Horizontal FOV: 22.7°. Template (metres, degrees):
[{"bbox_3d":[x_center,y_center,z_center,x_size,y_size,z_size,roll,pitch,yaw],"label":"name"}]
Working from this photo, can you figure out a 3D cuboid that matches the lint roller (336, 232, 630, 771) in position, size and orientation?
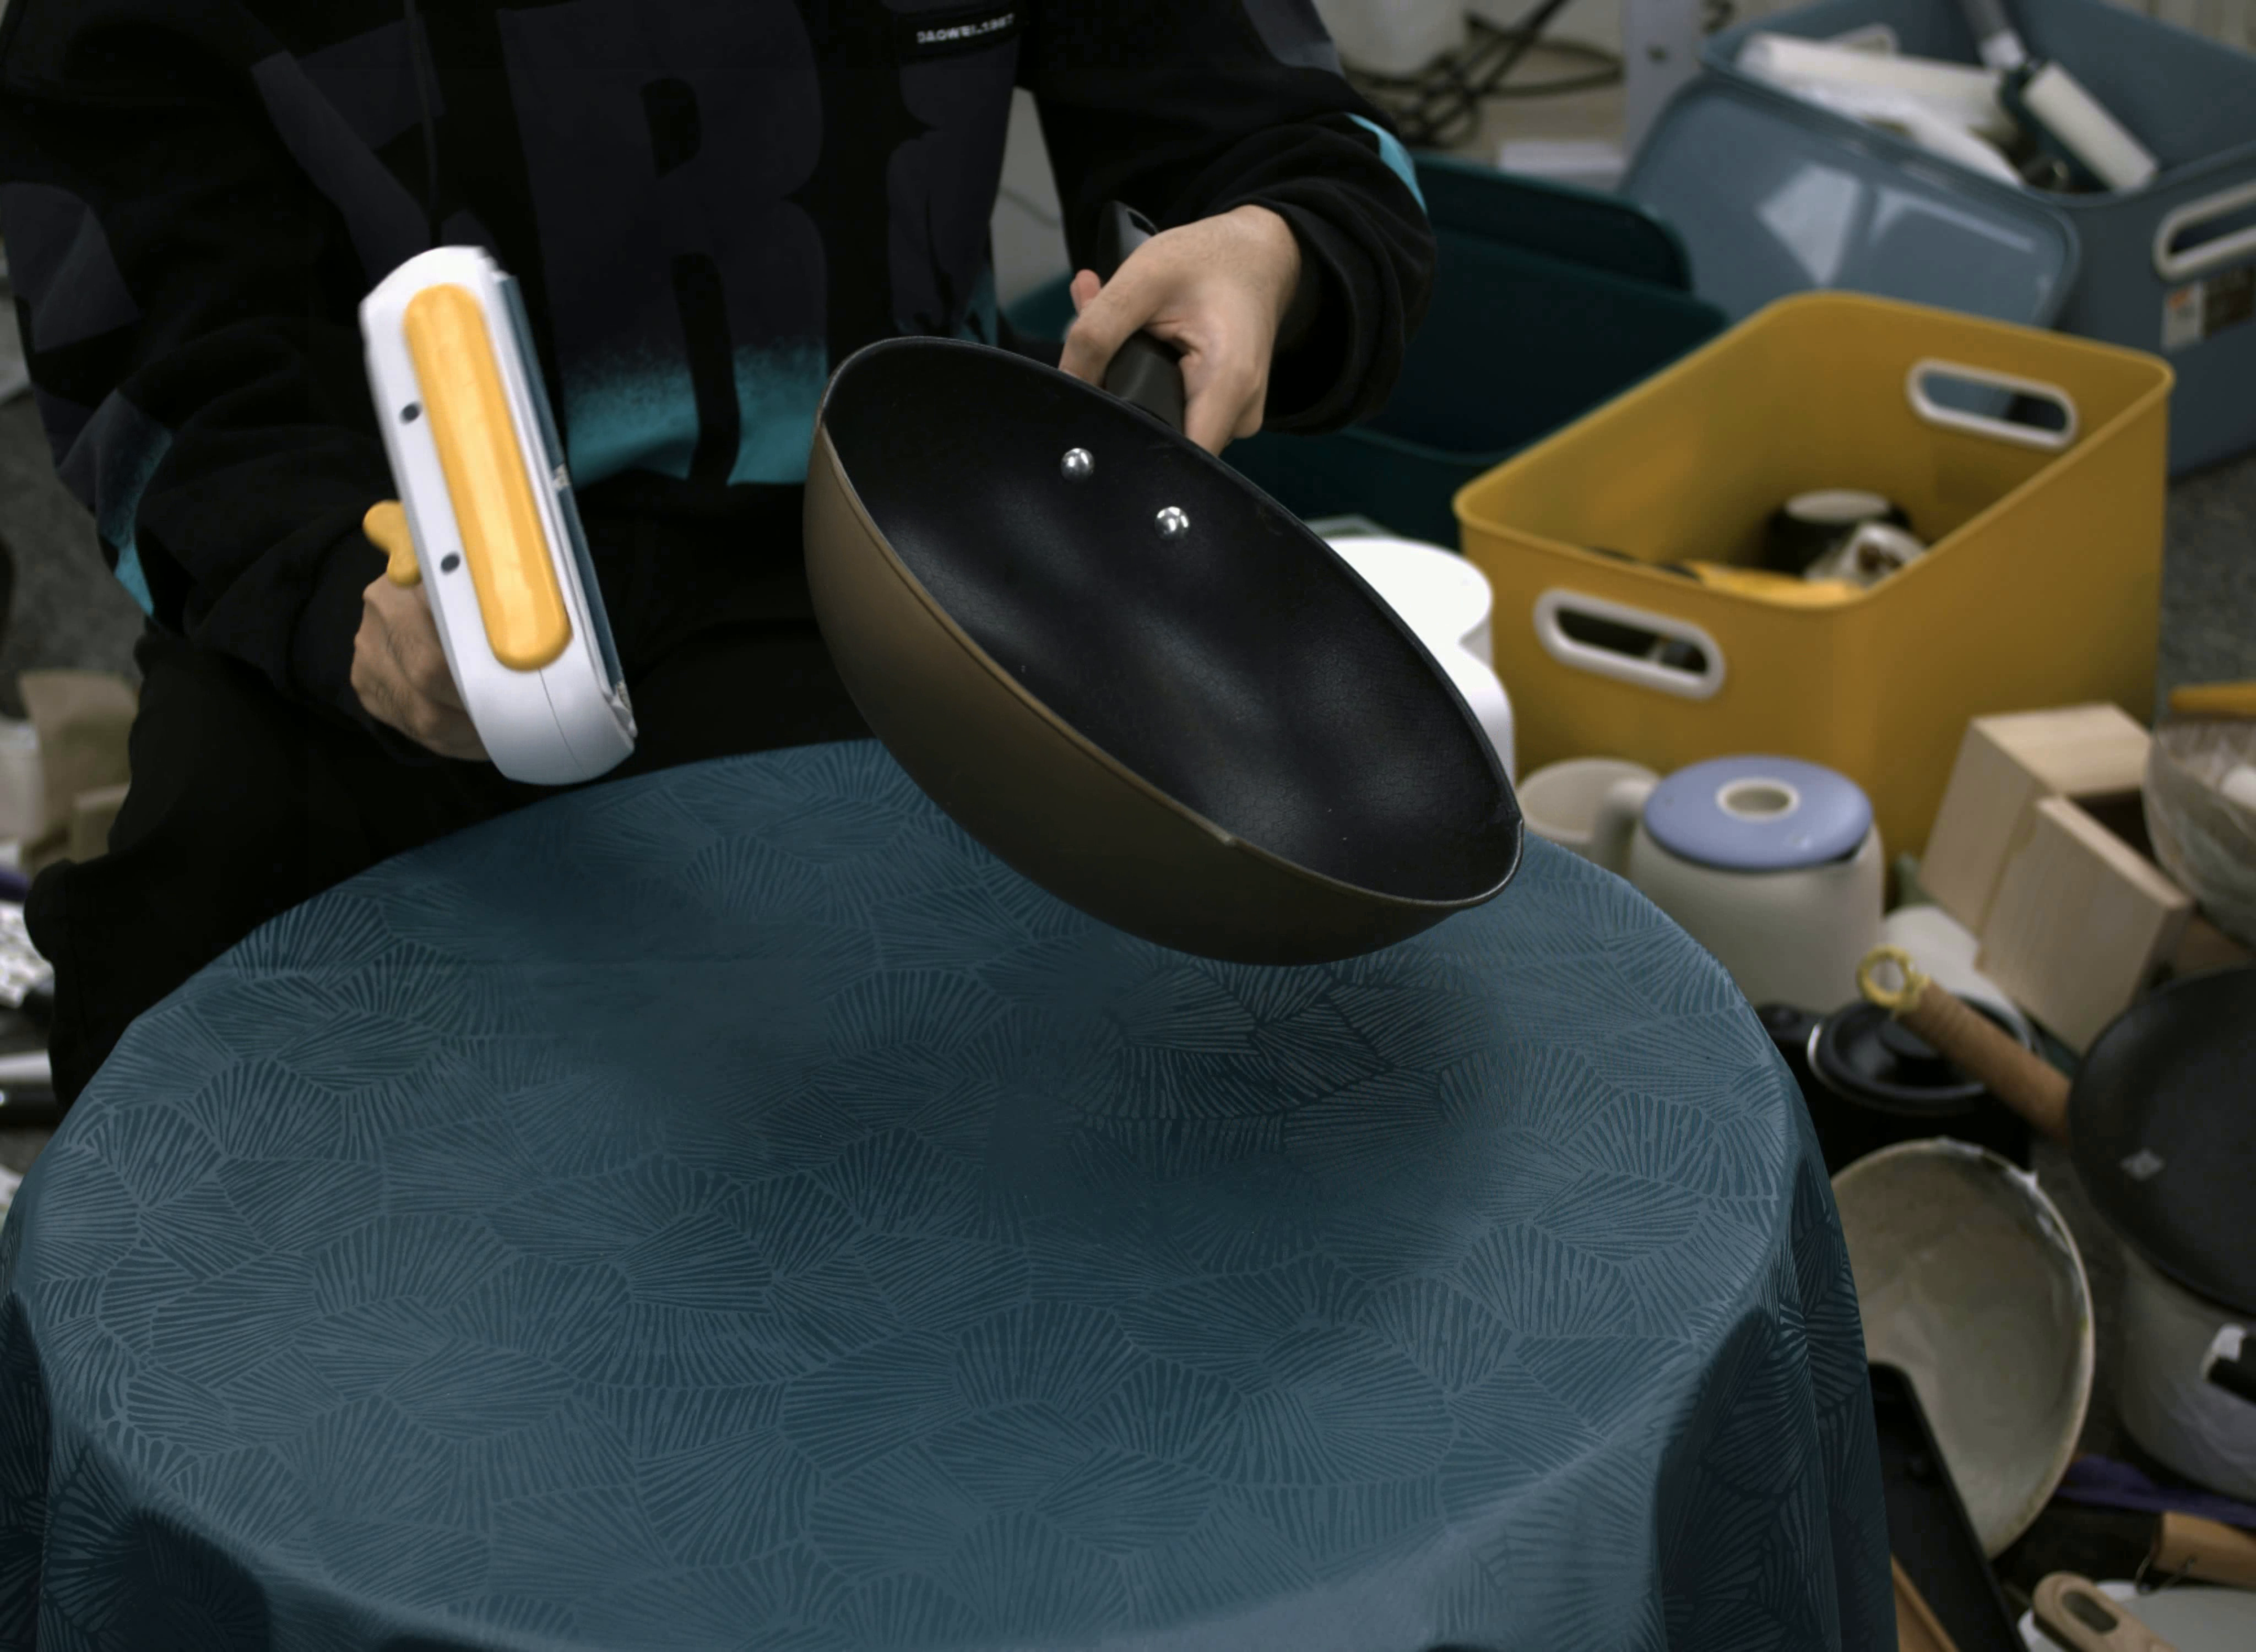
[{"bbox_3d":[-0.220,-0.081,1.936,0.074,0.190,0.195,-21,65,-9],"label":"lint roller"}]

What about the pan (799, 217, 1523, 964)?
[{"bbox_3d":[-0.007,-0.091,1.965,0.287,0.086,0.470,30,24,-18],"label":"pan"}]
